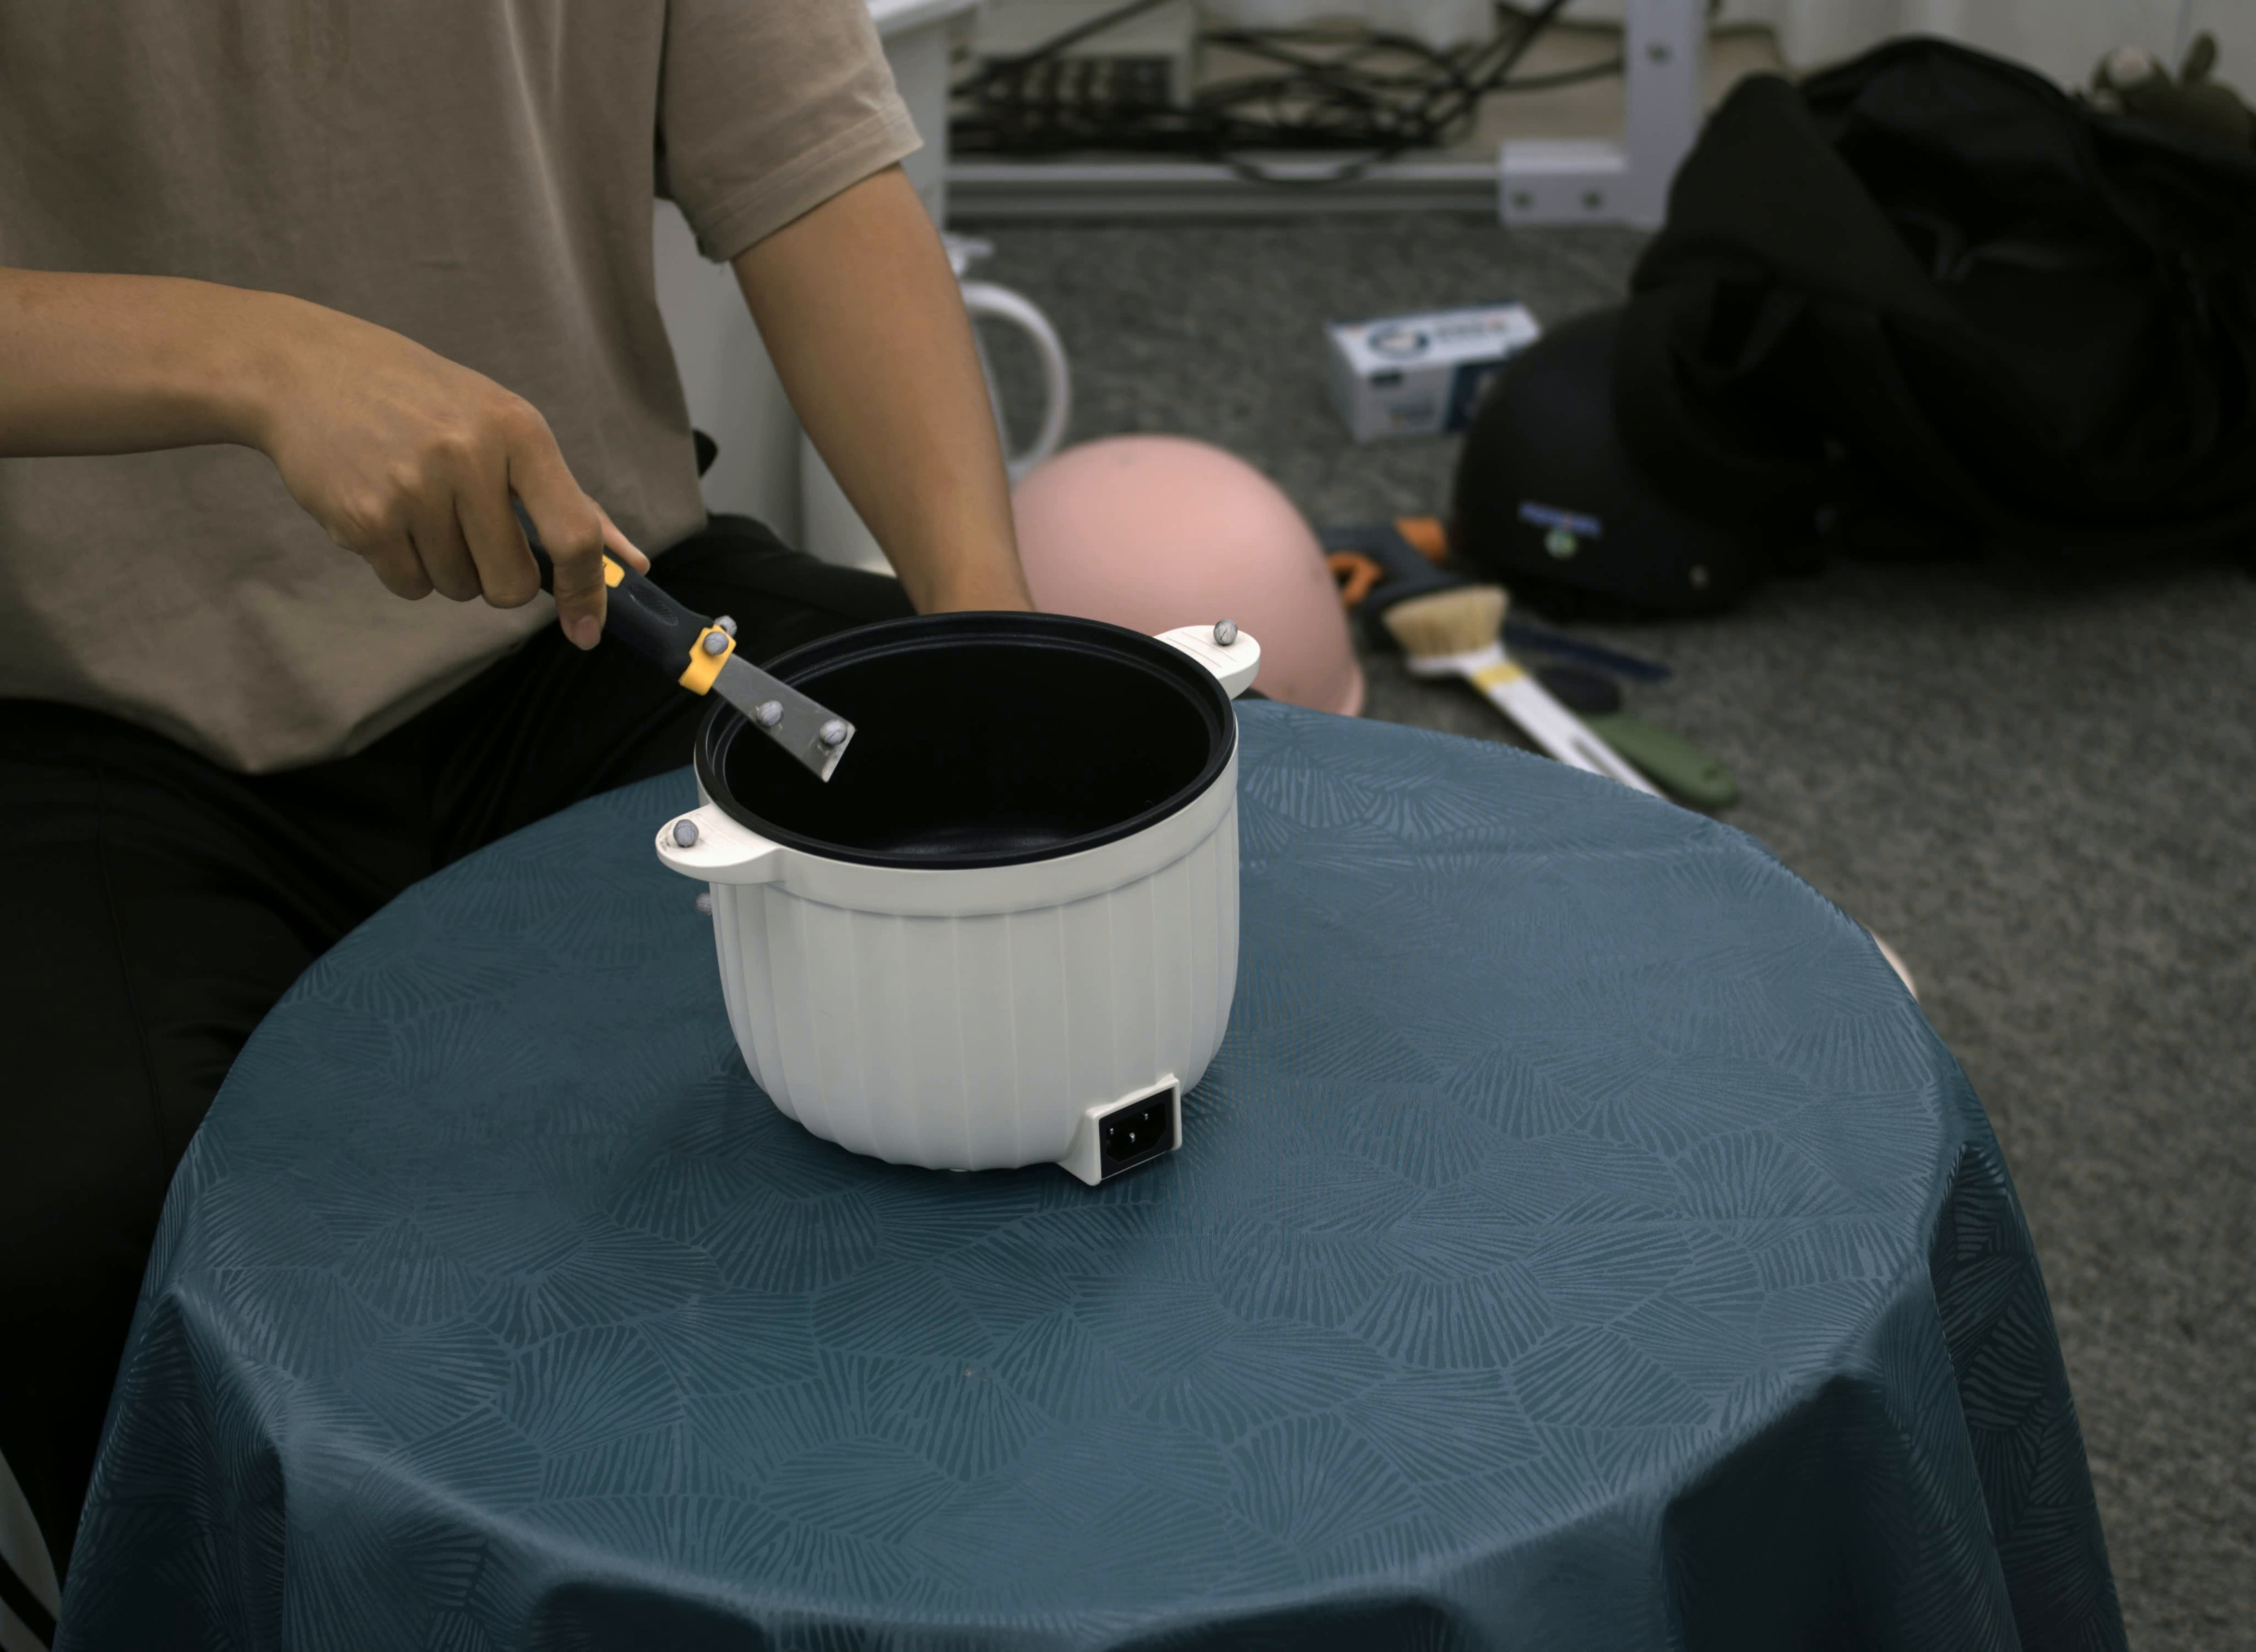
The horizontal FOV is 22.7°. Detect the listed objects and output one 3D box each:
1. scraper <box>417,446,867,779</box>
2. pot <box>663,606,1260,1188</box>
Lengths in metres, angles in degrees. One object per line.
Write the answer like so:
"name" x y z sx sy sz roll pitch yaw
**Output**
"scraper" -0.162 -0.072 1.870 0.170 0.014 0.039 34 41 -8
"pot" -0.055 0.025 1.903 0.242 0.141 0.191 -21 36 -33
